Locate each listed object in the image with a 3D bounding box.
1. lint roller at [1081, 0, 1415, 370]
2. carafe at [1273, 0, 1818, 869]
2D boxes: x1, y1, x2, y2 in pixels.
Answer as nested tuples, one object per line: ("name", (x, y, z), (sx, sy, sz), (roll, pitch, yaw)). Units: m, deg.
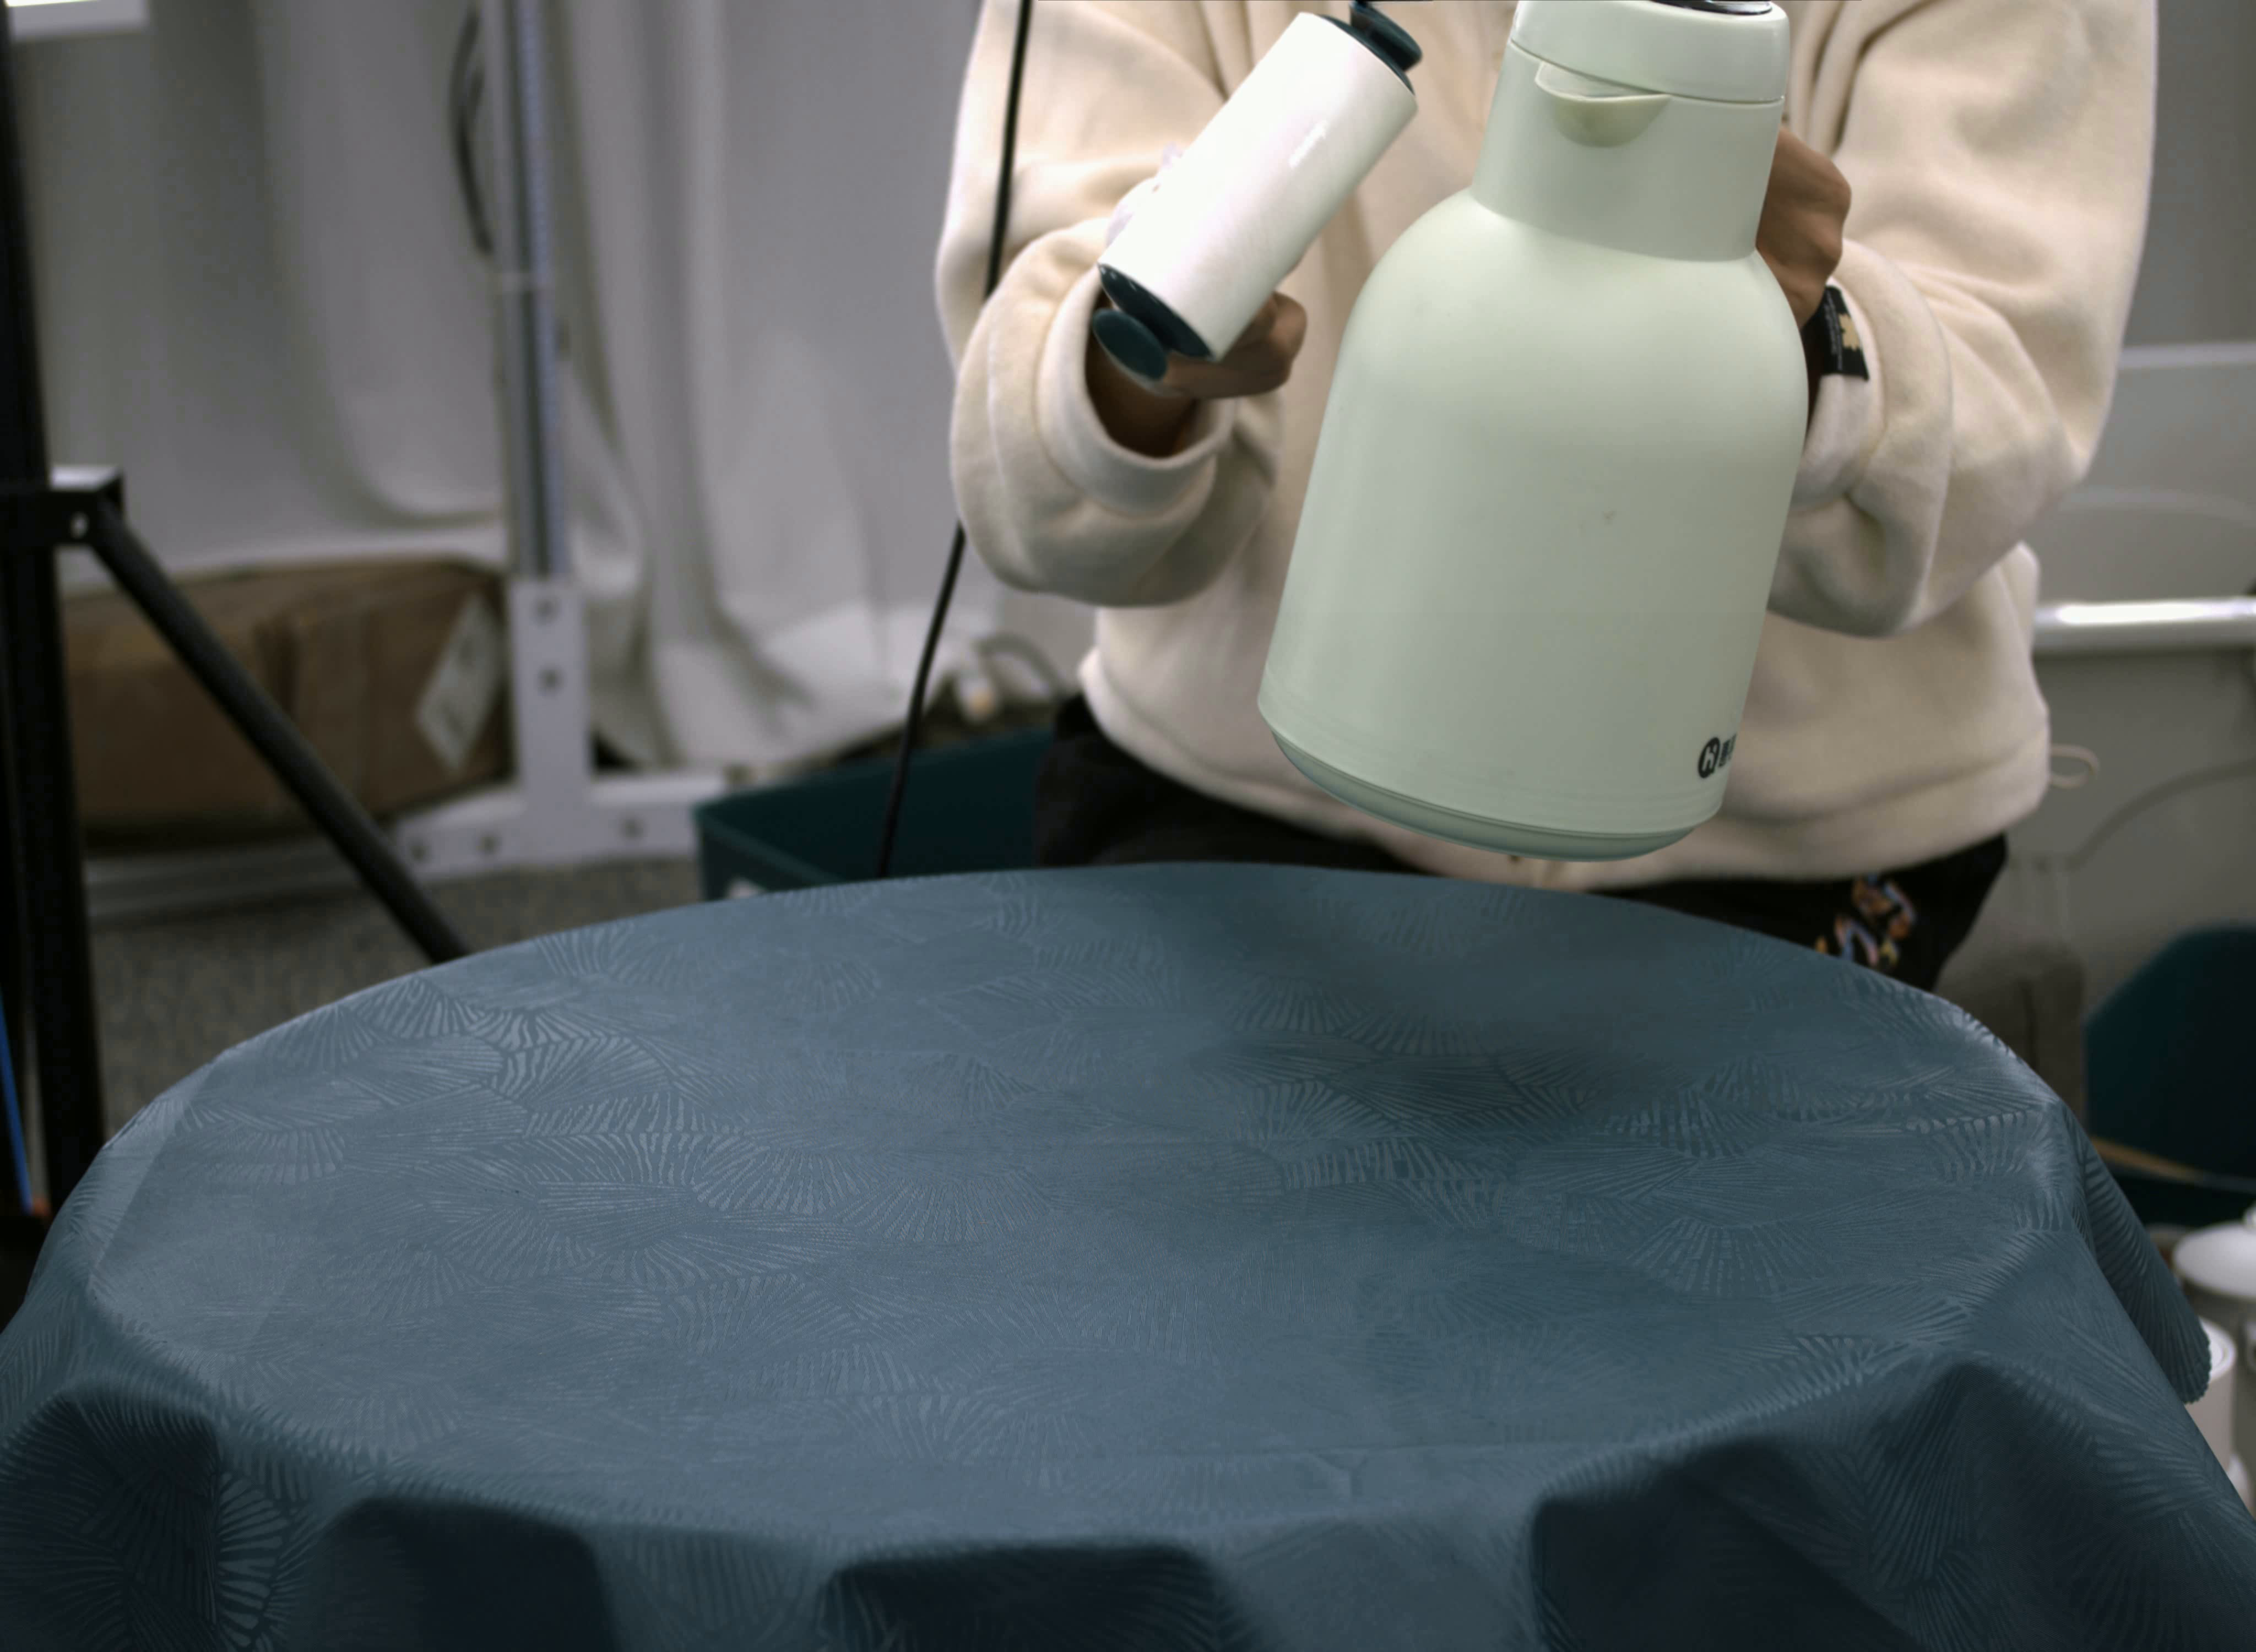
("lint roller", (0.030, -0.195, 1.683), (0.048, 0.134, 0.181), (40, -5, -4))
("carafe", (0.140, -0.127, 1.589), (0.146, 0.257, 0.183), (17, 14, 21))
